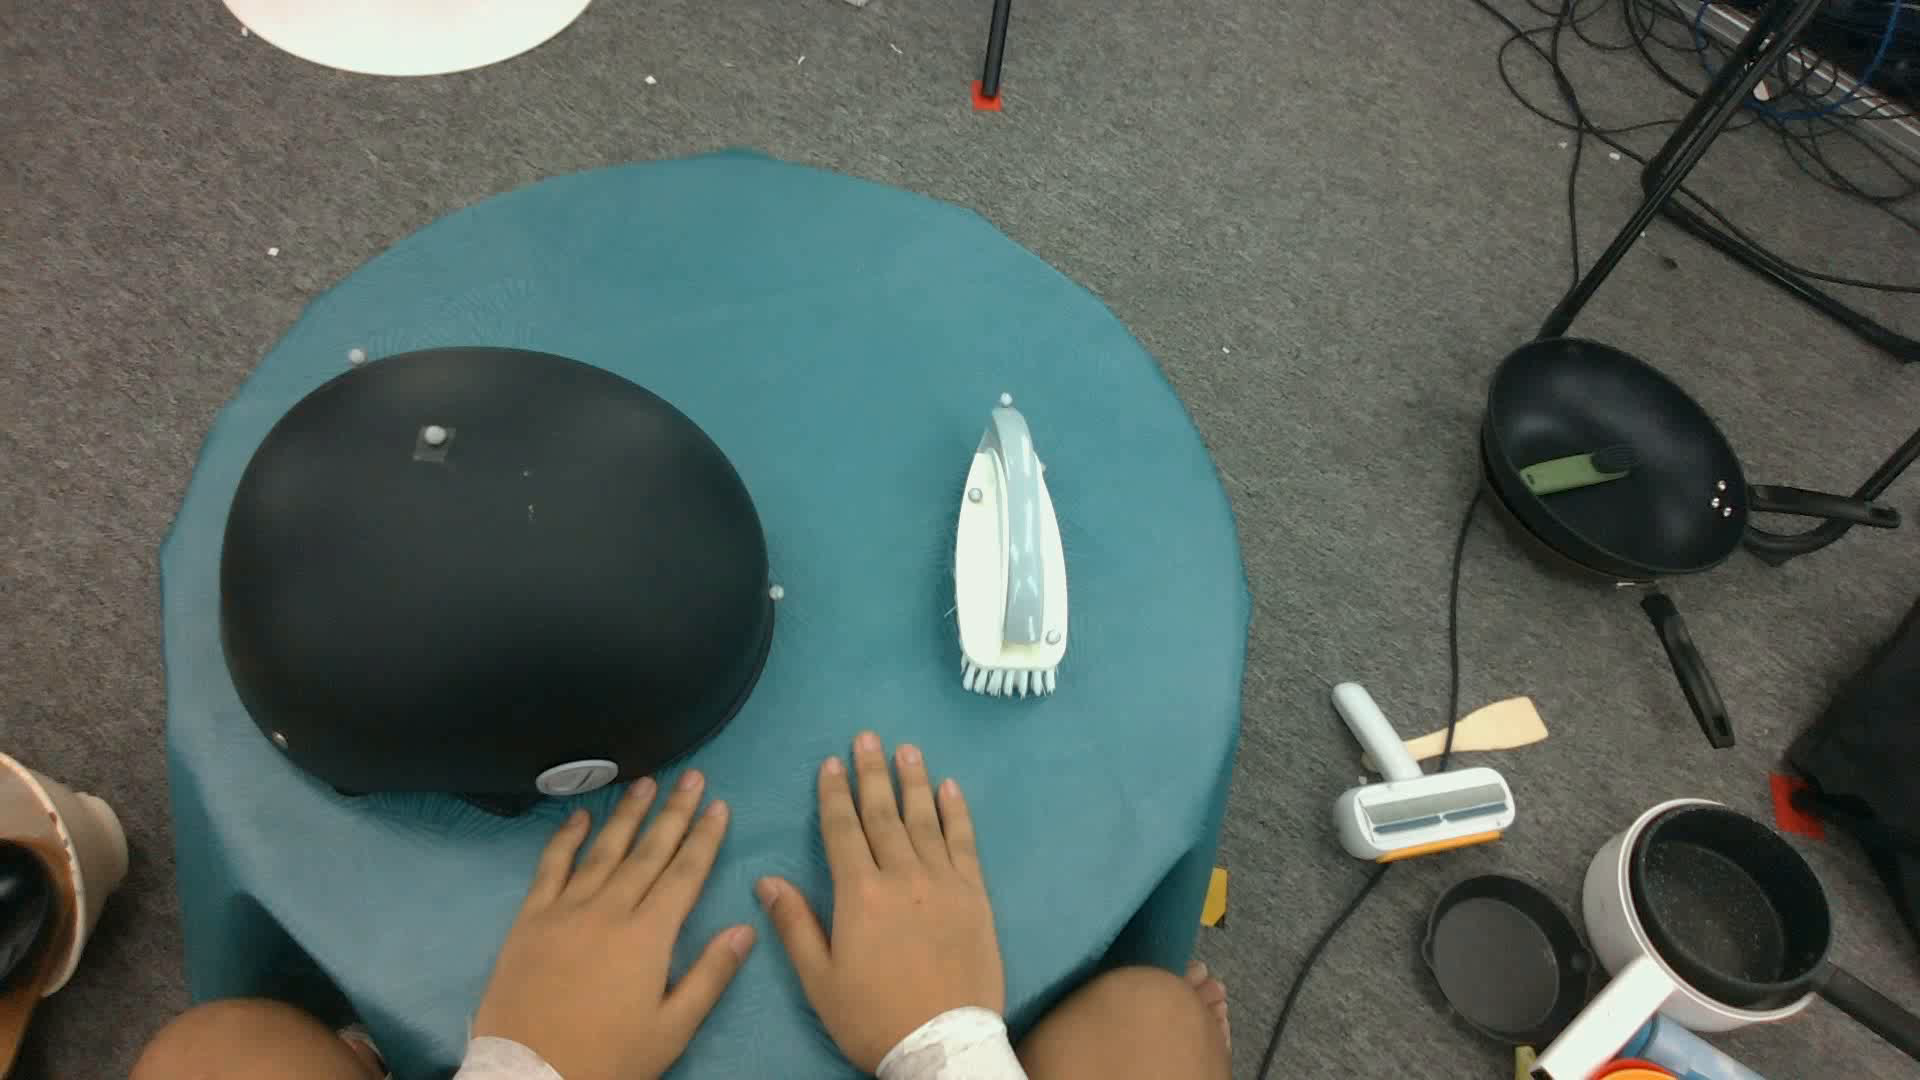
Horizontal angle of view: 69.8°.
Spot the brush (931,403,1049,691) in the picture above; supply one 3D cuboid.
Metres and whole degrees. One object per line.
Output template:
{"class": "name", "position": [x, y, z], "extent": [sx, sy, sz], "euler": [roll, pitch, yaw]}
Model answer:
{"class": "brush", "position": [0.019, -0.012, 0.768], "extent": [0.061, 0.094, 0.176], "euler": [4, 57, -10]}

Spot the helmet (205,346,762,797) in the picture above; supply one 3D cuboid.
{"class": "helmet", "position": [-0.230, 0.001, 0.673], "extent": [0.273, 0.166, 0.231], "euler": [2, 59, -11]}
